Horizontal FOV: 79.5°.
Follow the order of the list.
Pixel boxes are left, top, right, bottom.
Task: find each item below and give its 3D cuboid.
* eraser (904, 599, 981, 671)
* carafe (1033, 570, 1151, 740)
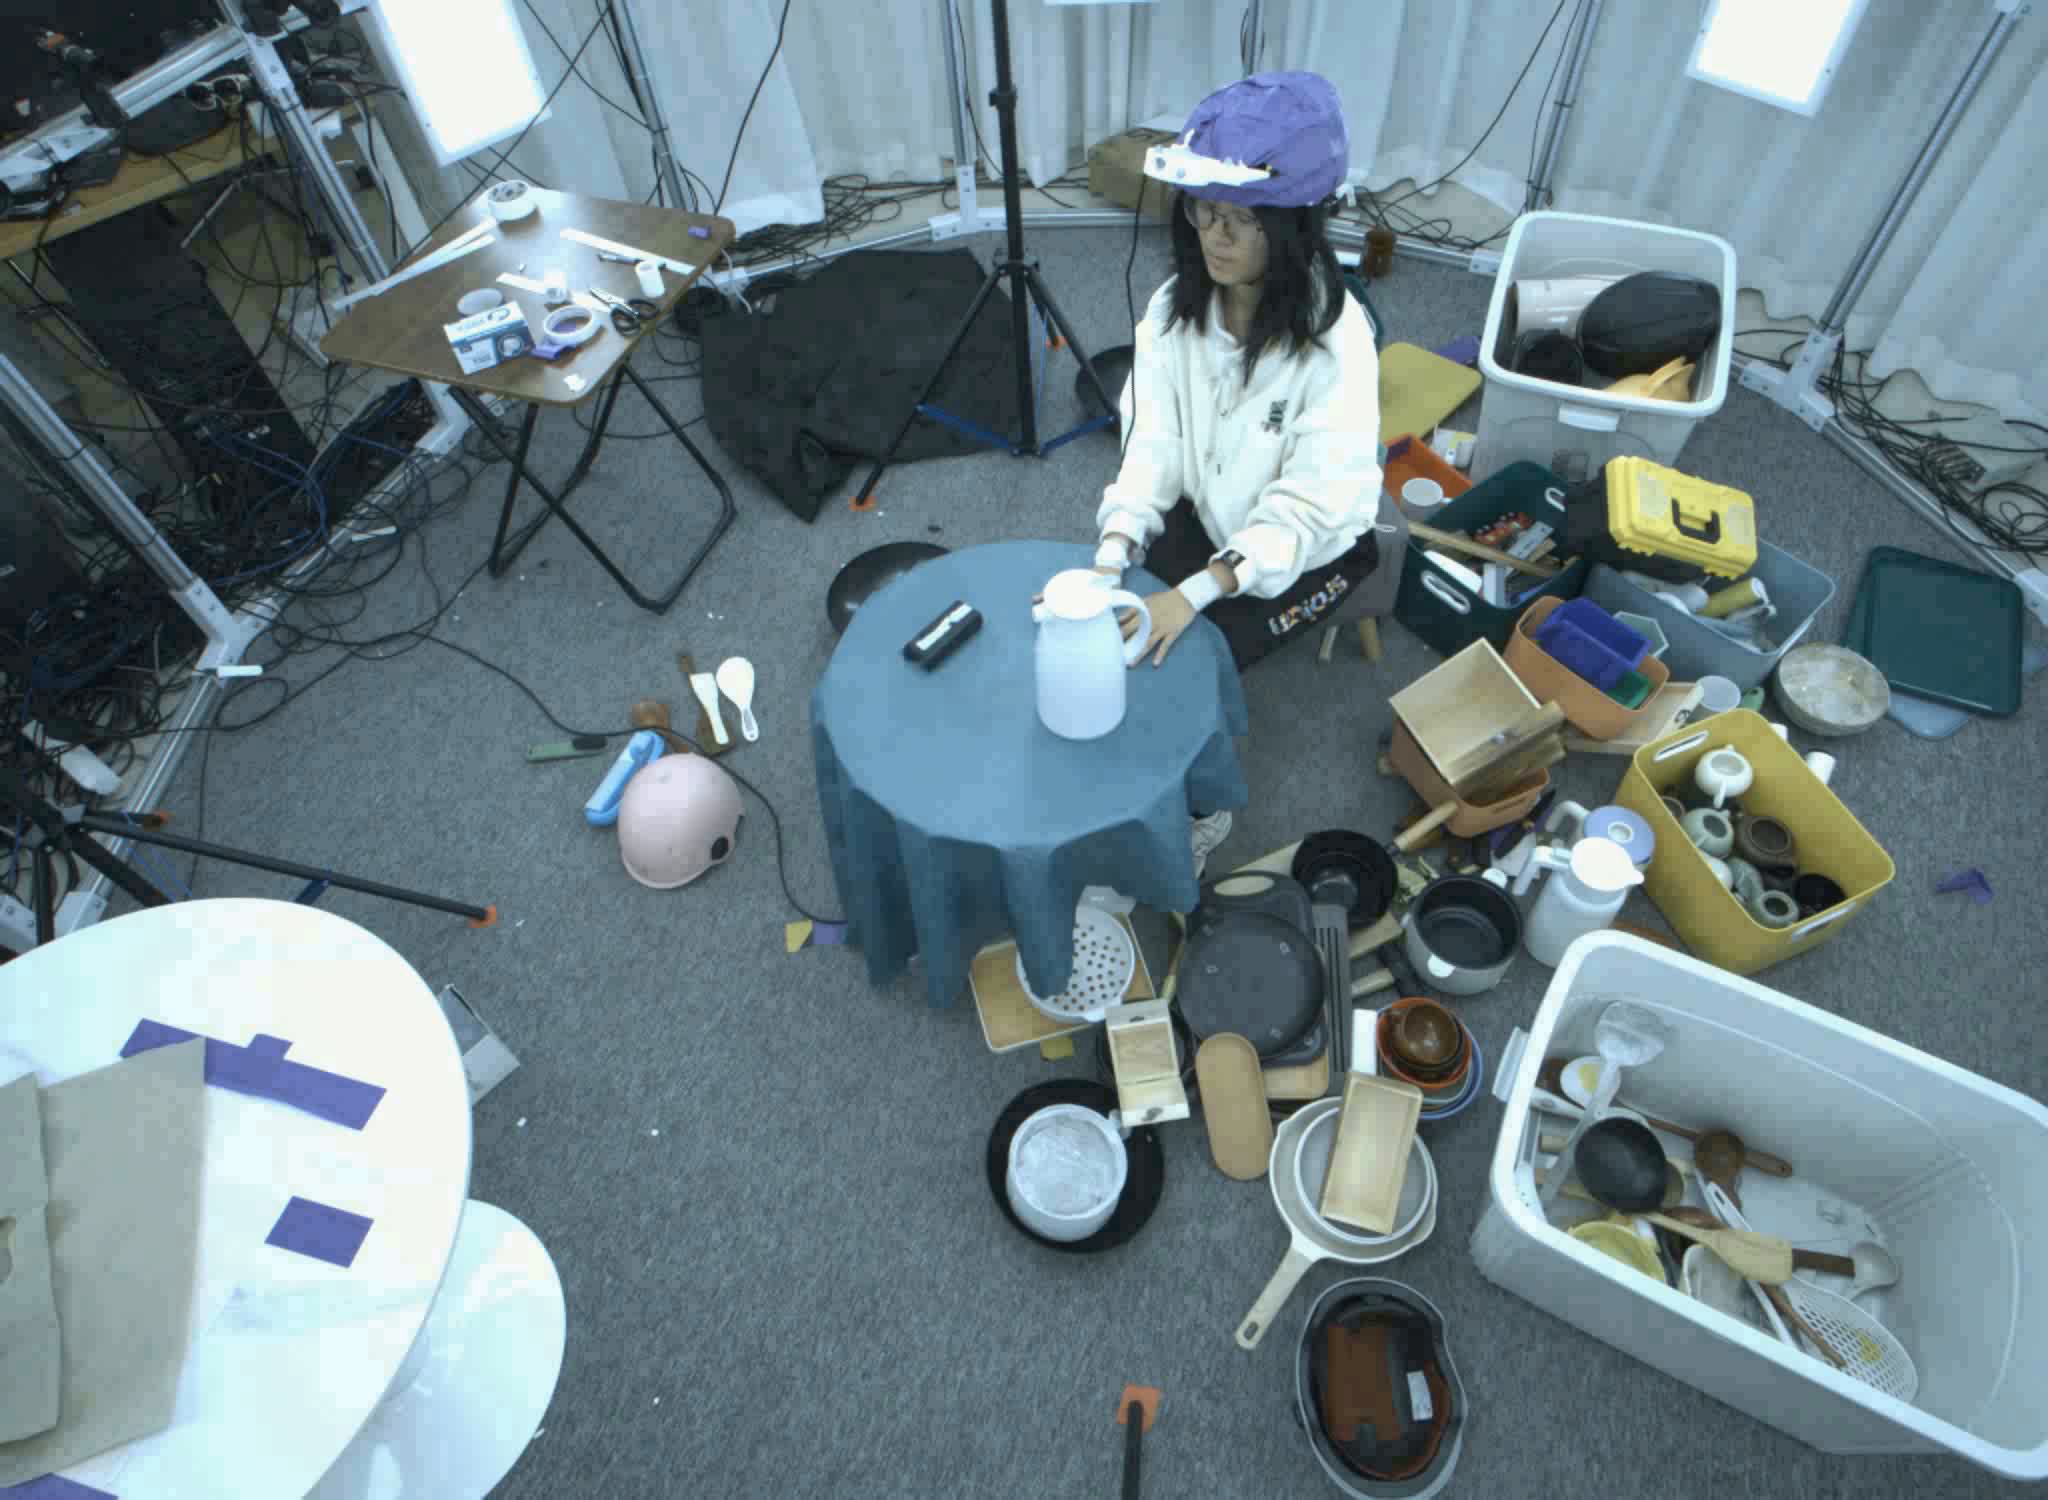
[{"bbox_3d":[-0.126,-0.179,1.901,0.052,0.031,0.126,34,62,21],"label":"eraser"},{"bbox_3d":[0.097,-0.146,1.734,0.169,0.251,0.130,-17,55,-10],"label":"carafe"}]
